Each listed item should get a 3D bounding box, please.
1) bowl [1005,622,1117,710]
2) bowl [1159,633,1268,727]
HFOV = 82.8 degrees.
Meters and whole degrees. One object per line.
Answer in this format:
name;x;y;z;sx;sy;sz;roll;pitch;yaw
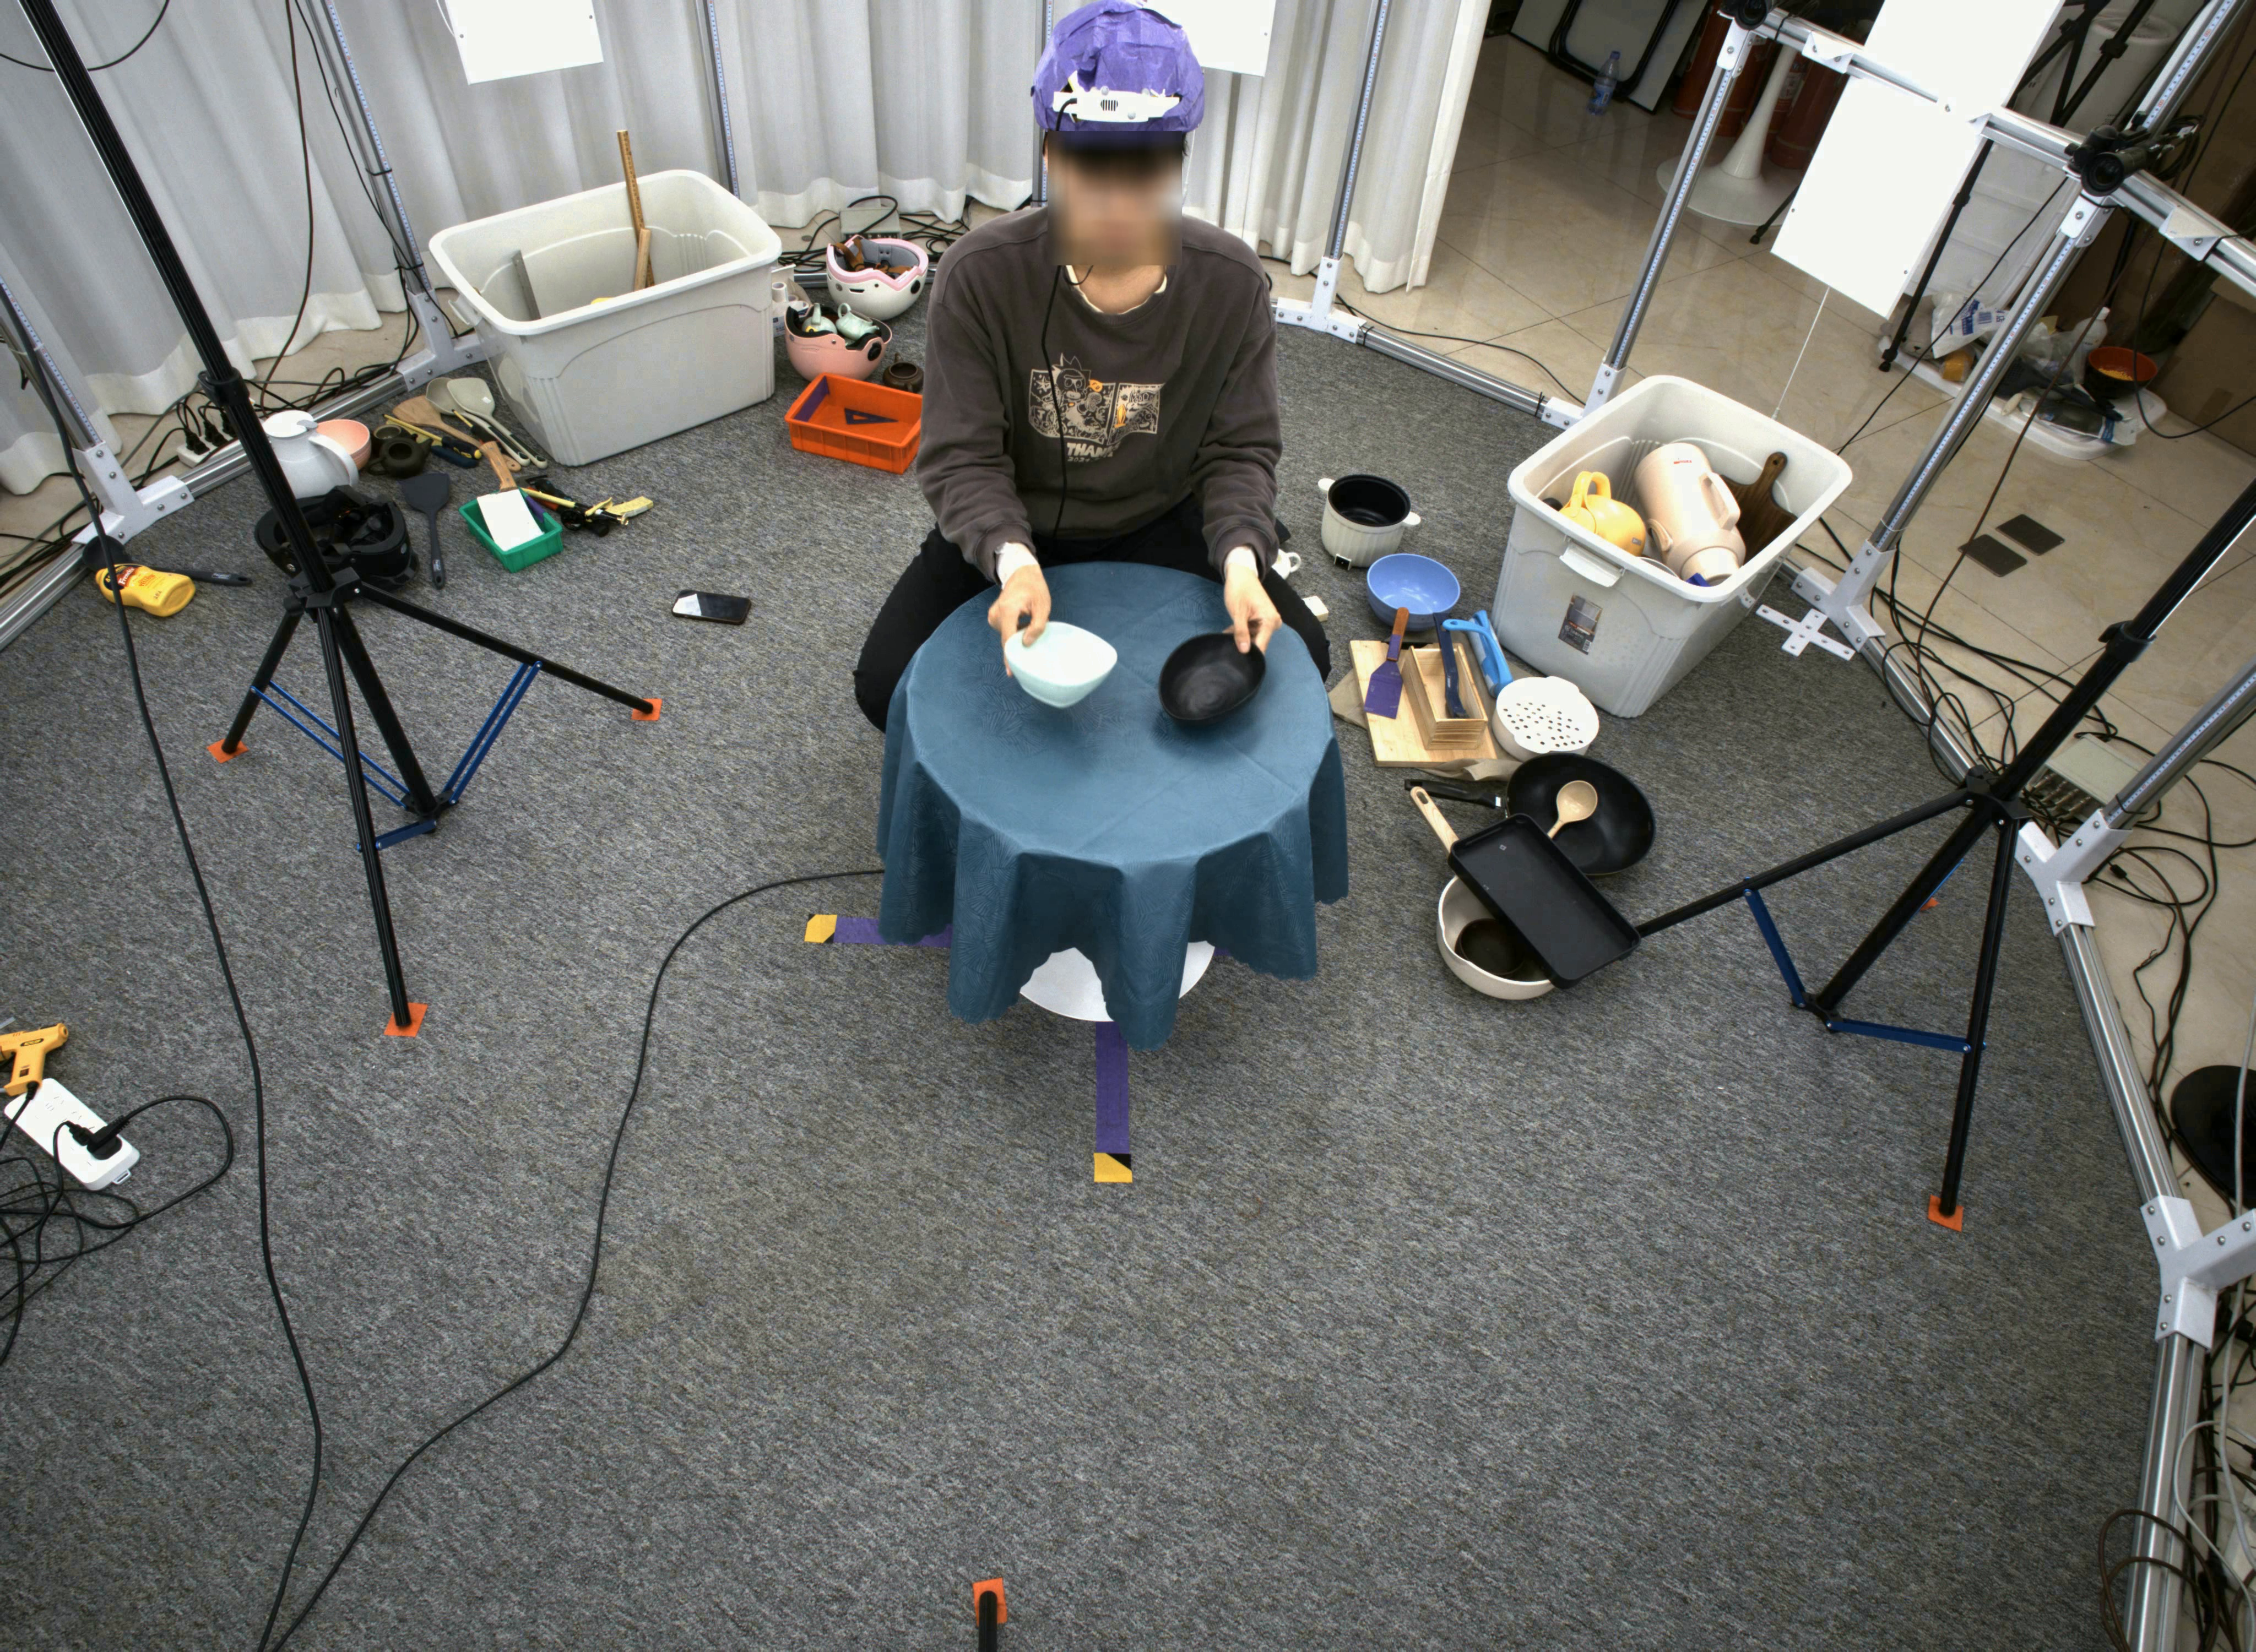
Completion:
bowl;-0.093;-0.209;1.733;0.151;0.057;0.155;6;41;-5
bowl;0.120;-0.192;1.795;0.139;0.065;0.172;31;62;25
